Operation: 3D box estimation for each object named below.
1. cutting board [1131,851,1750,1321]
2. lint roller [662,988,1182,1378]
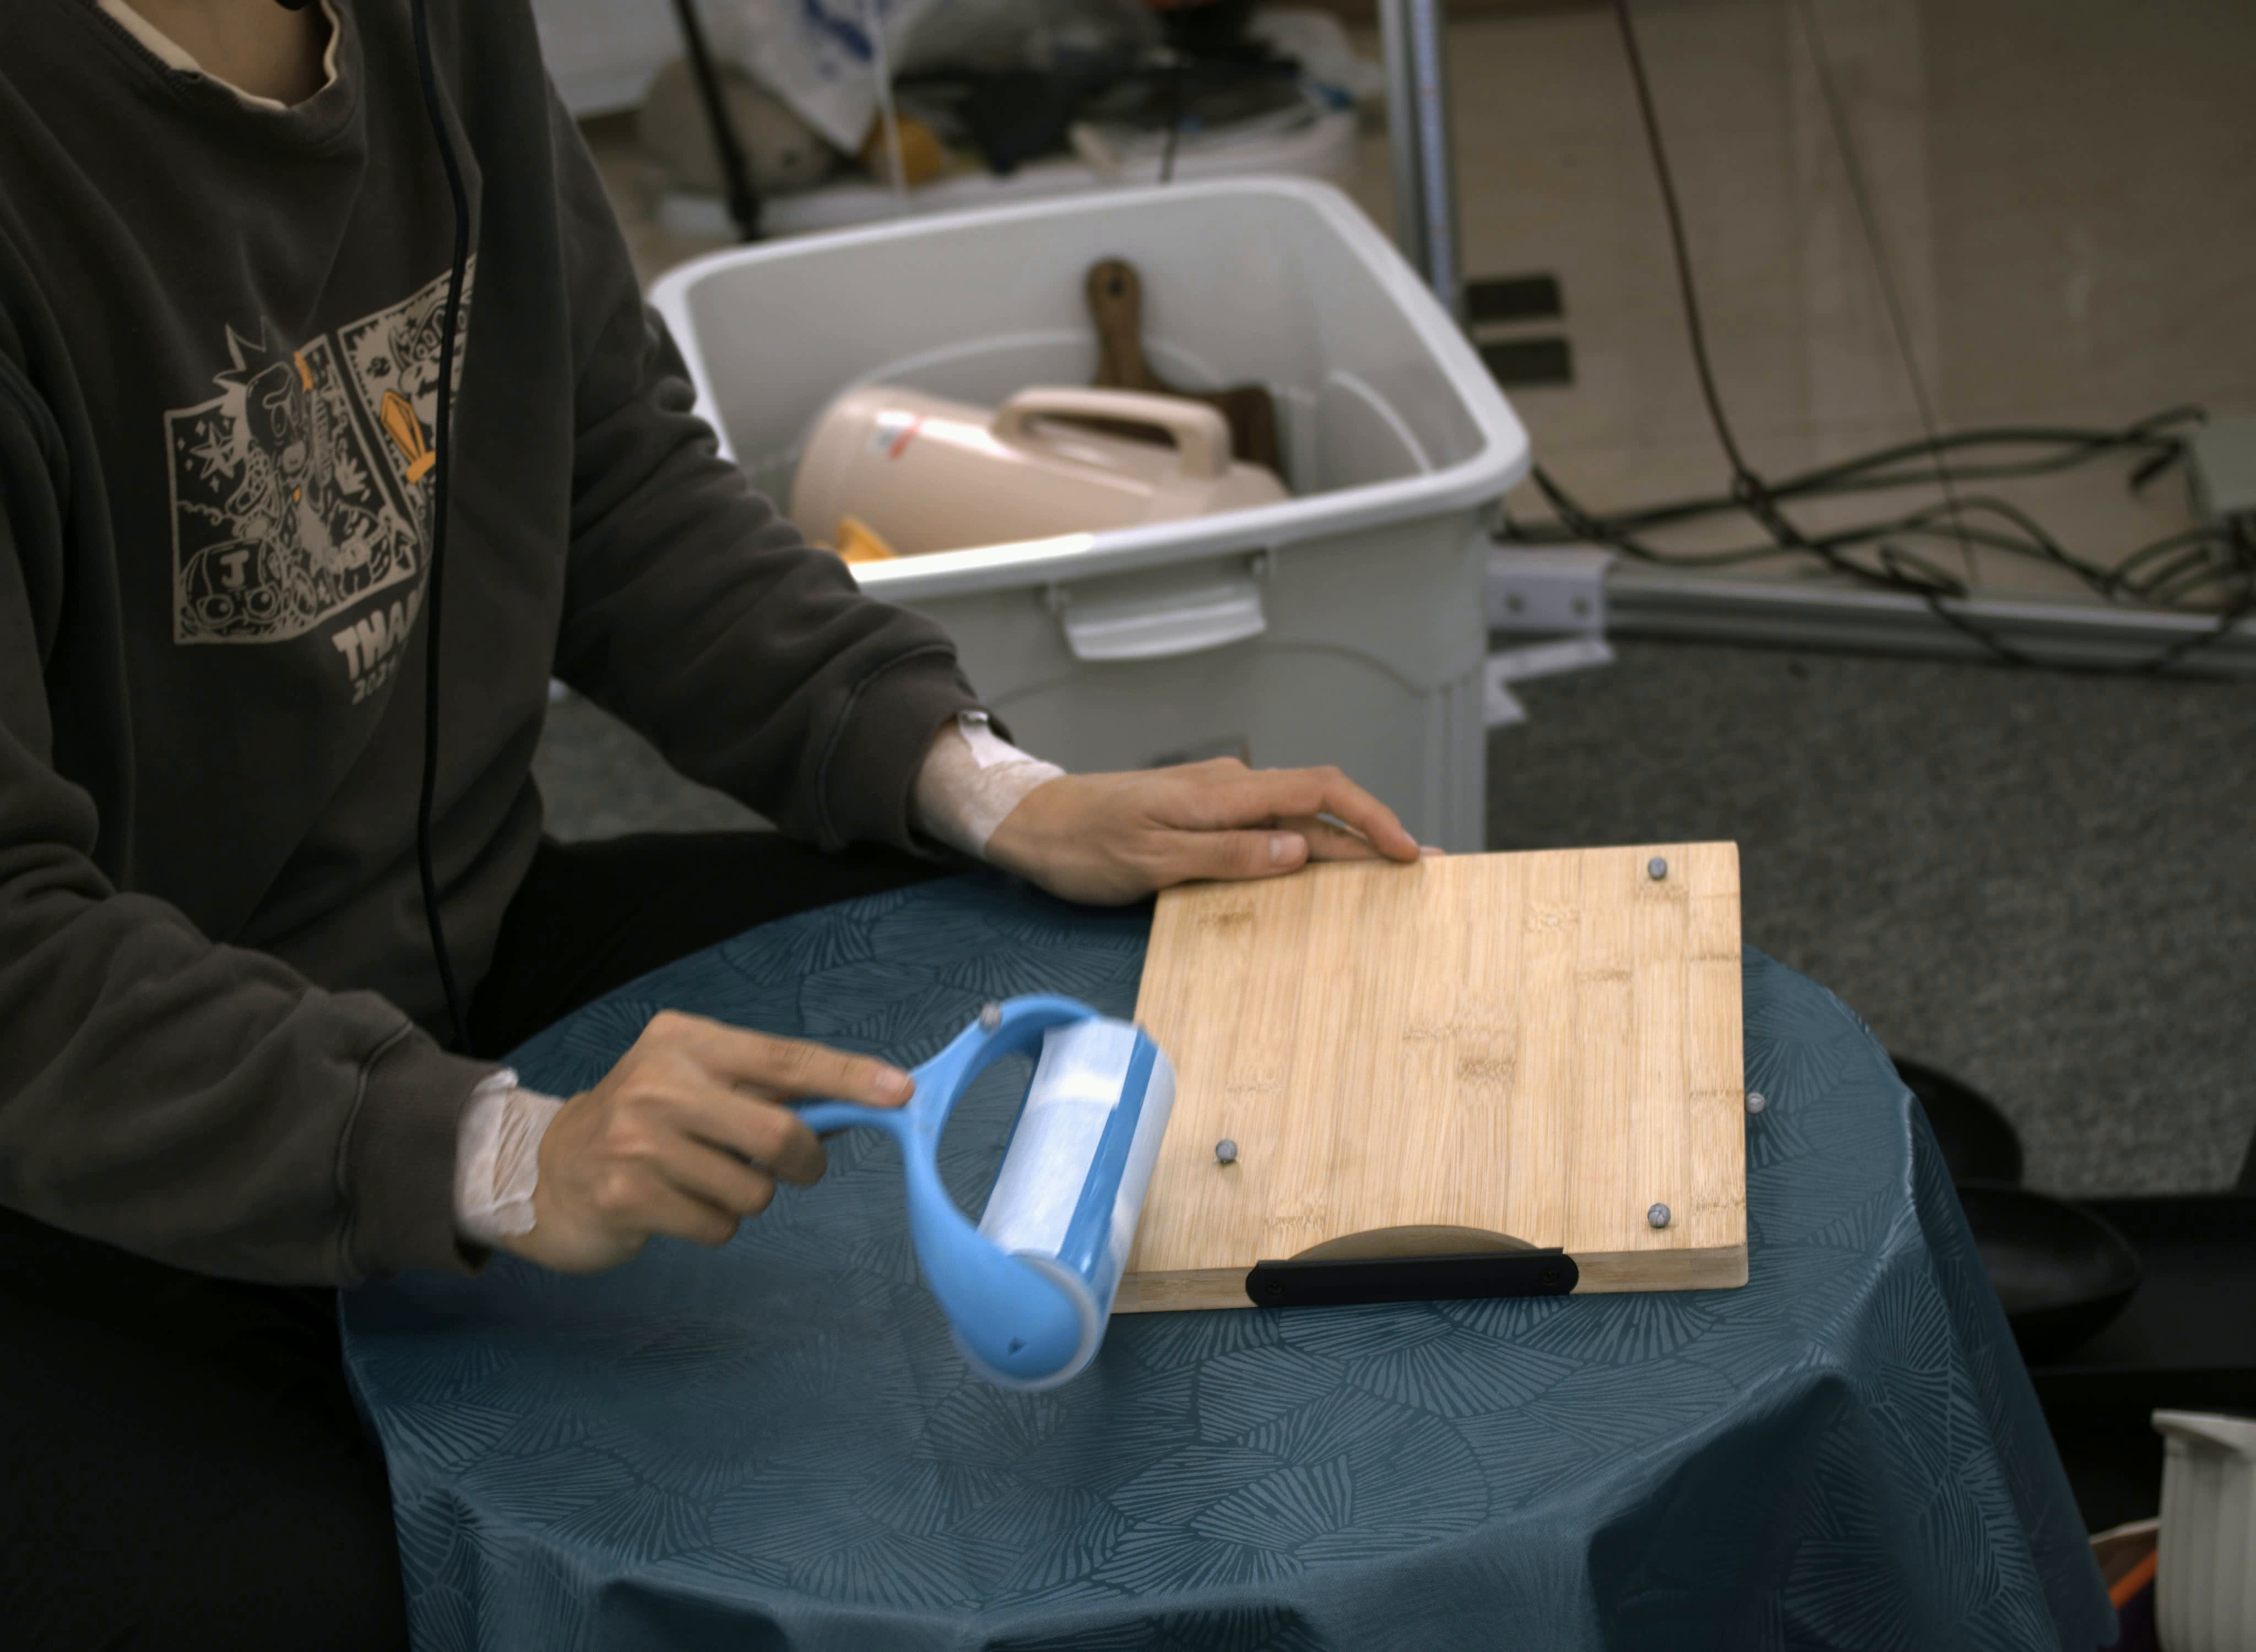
[{"bbox_3d":[0.117,0.095,2.192,0.250,0.024,0.343,-4,25,7],"label":"cutting board"},{"bbox_3d":[-0.075,0.121,2.007,0.180,0.069,0.225,5,24,1],"label":"lint roller"}]
